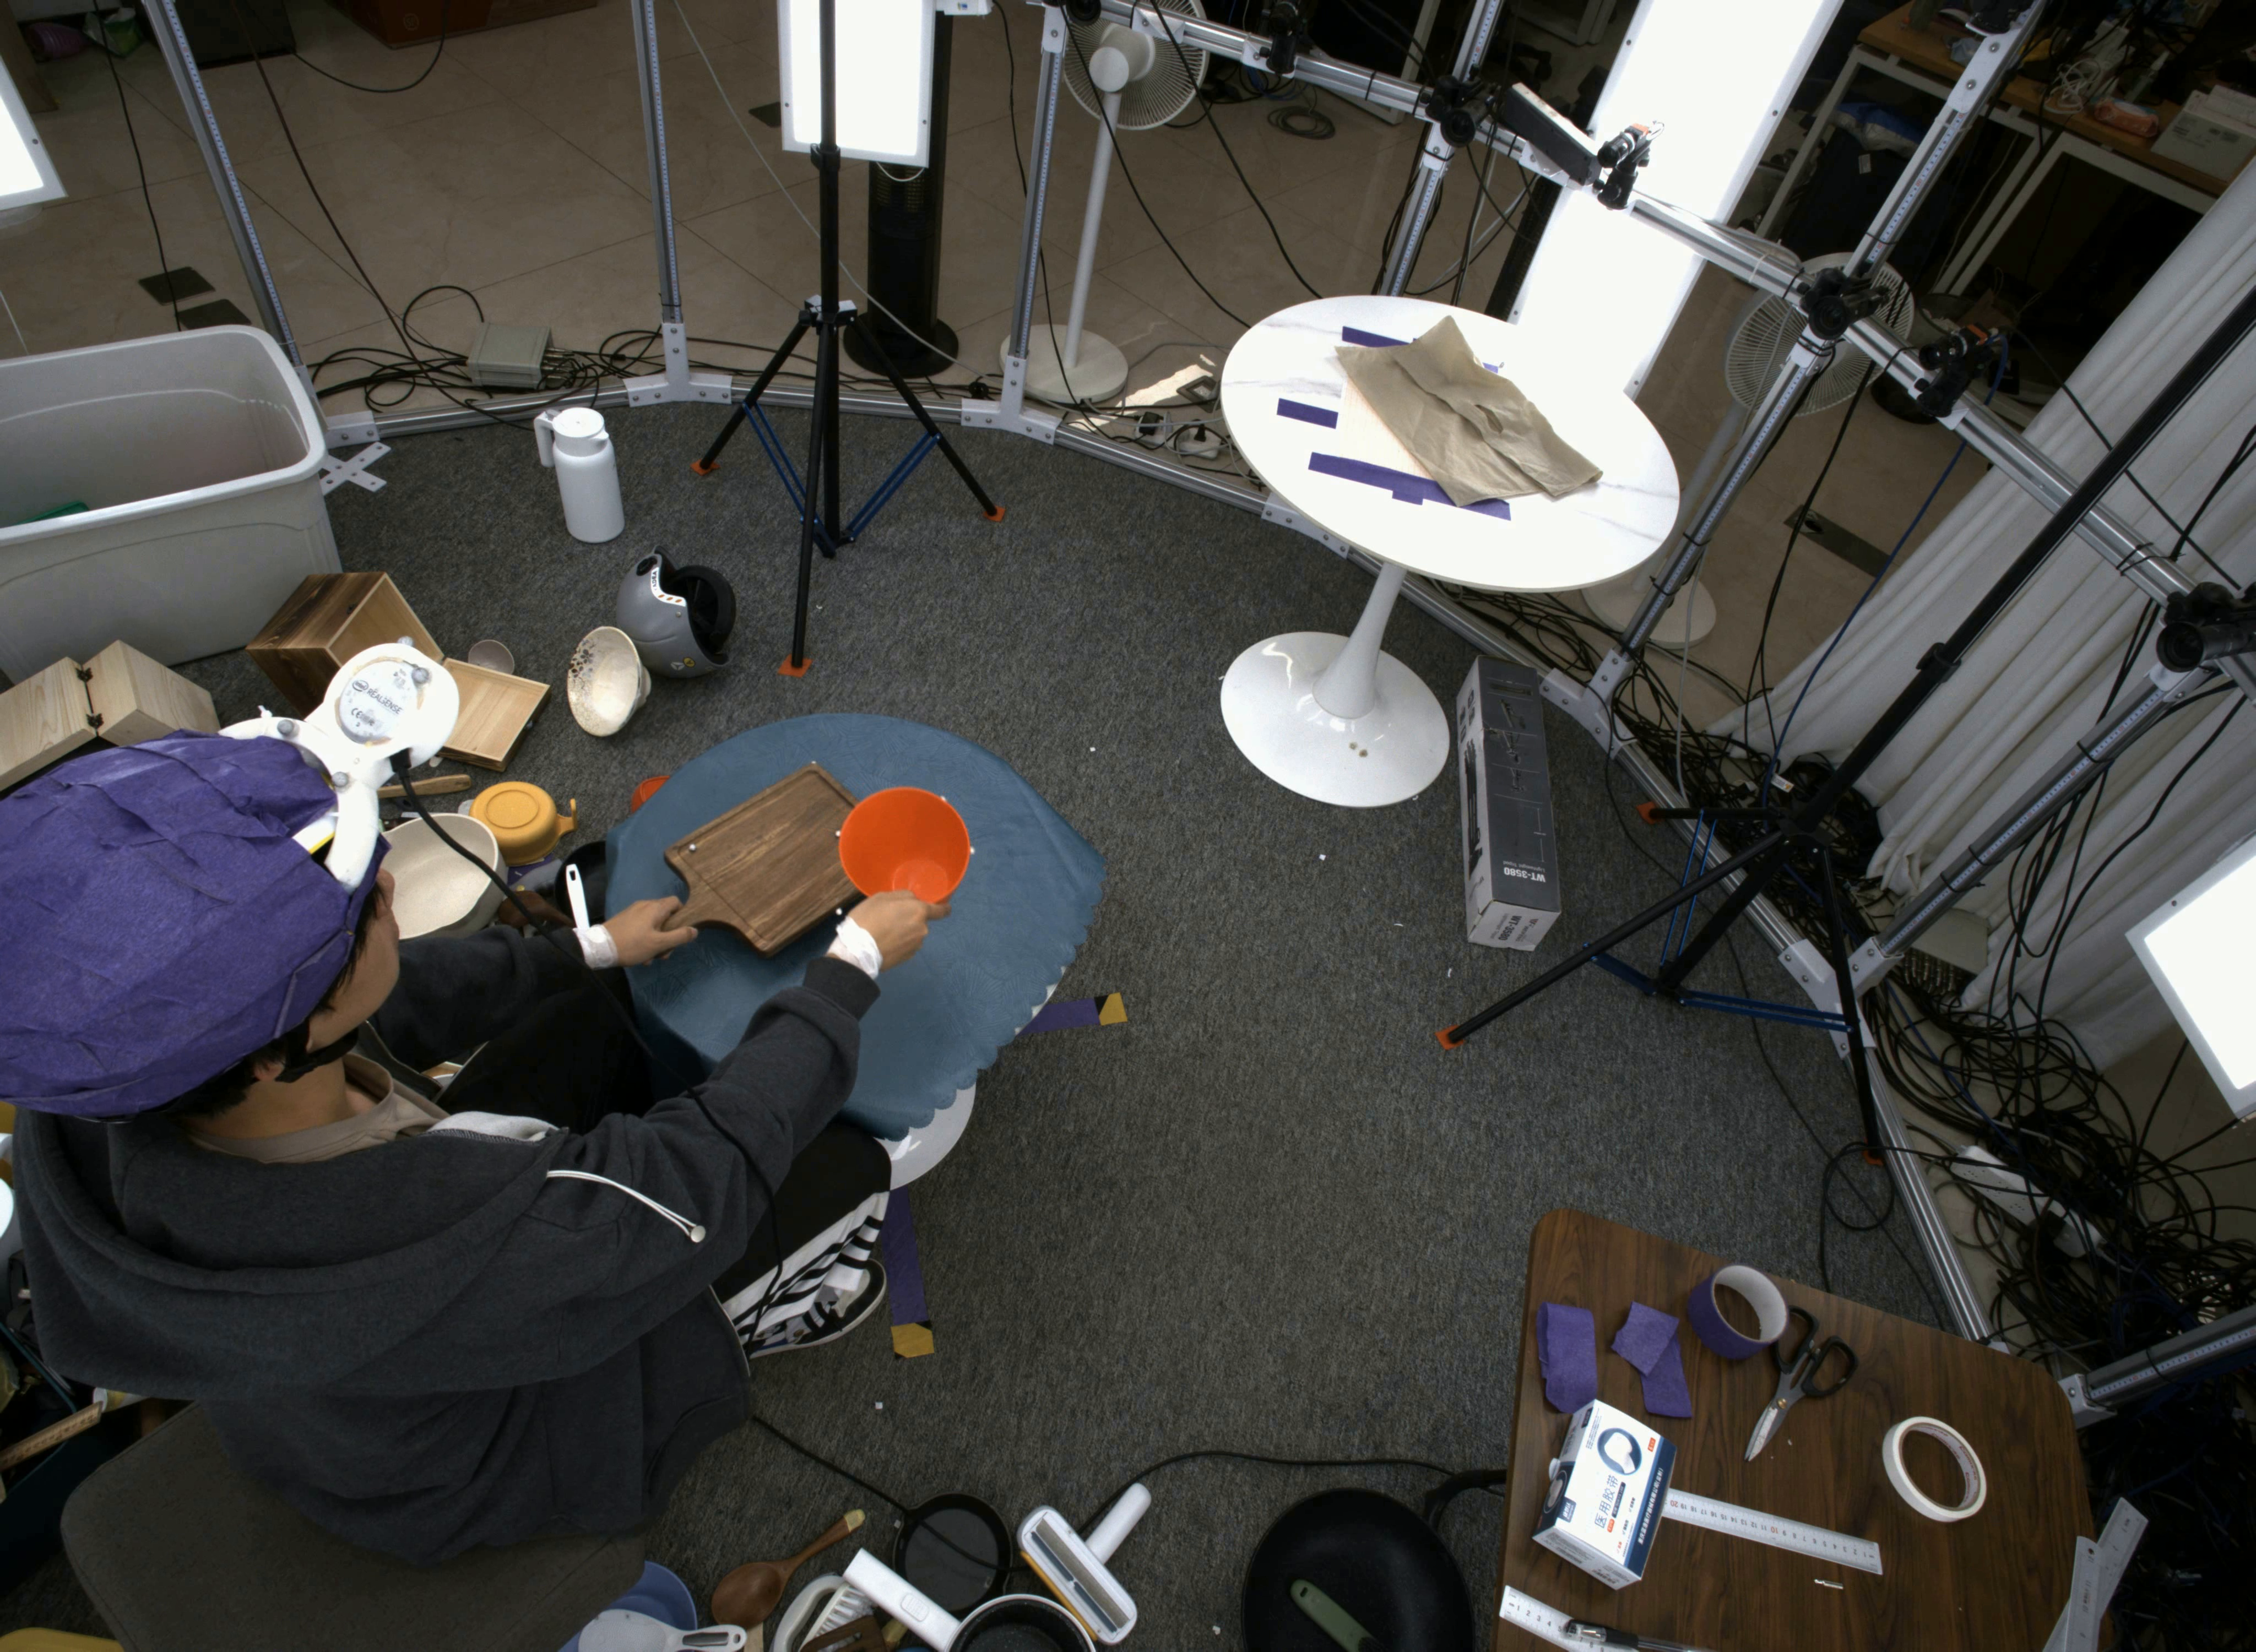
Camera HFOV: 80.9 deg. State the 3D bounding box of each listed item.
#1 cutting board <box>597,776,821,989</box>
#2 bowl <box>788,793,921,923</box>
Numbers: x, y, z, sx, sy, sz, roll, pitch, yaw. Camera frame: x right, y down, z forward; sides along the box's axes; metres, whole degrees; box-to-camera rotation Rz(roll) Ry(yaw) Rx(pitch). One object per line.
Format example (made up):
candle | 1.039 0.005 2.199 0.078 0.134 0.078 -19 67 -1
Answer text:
cutting board | -0.512 0.083 1.584 0.198 0.023 0.352 38 50 11
bowl | -0.307 0.050 1.494 0.147 0.107 0.146 2 62 -2
